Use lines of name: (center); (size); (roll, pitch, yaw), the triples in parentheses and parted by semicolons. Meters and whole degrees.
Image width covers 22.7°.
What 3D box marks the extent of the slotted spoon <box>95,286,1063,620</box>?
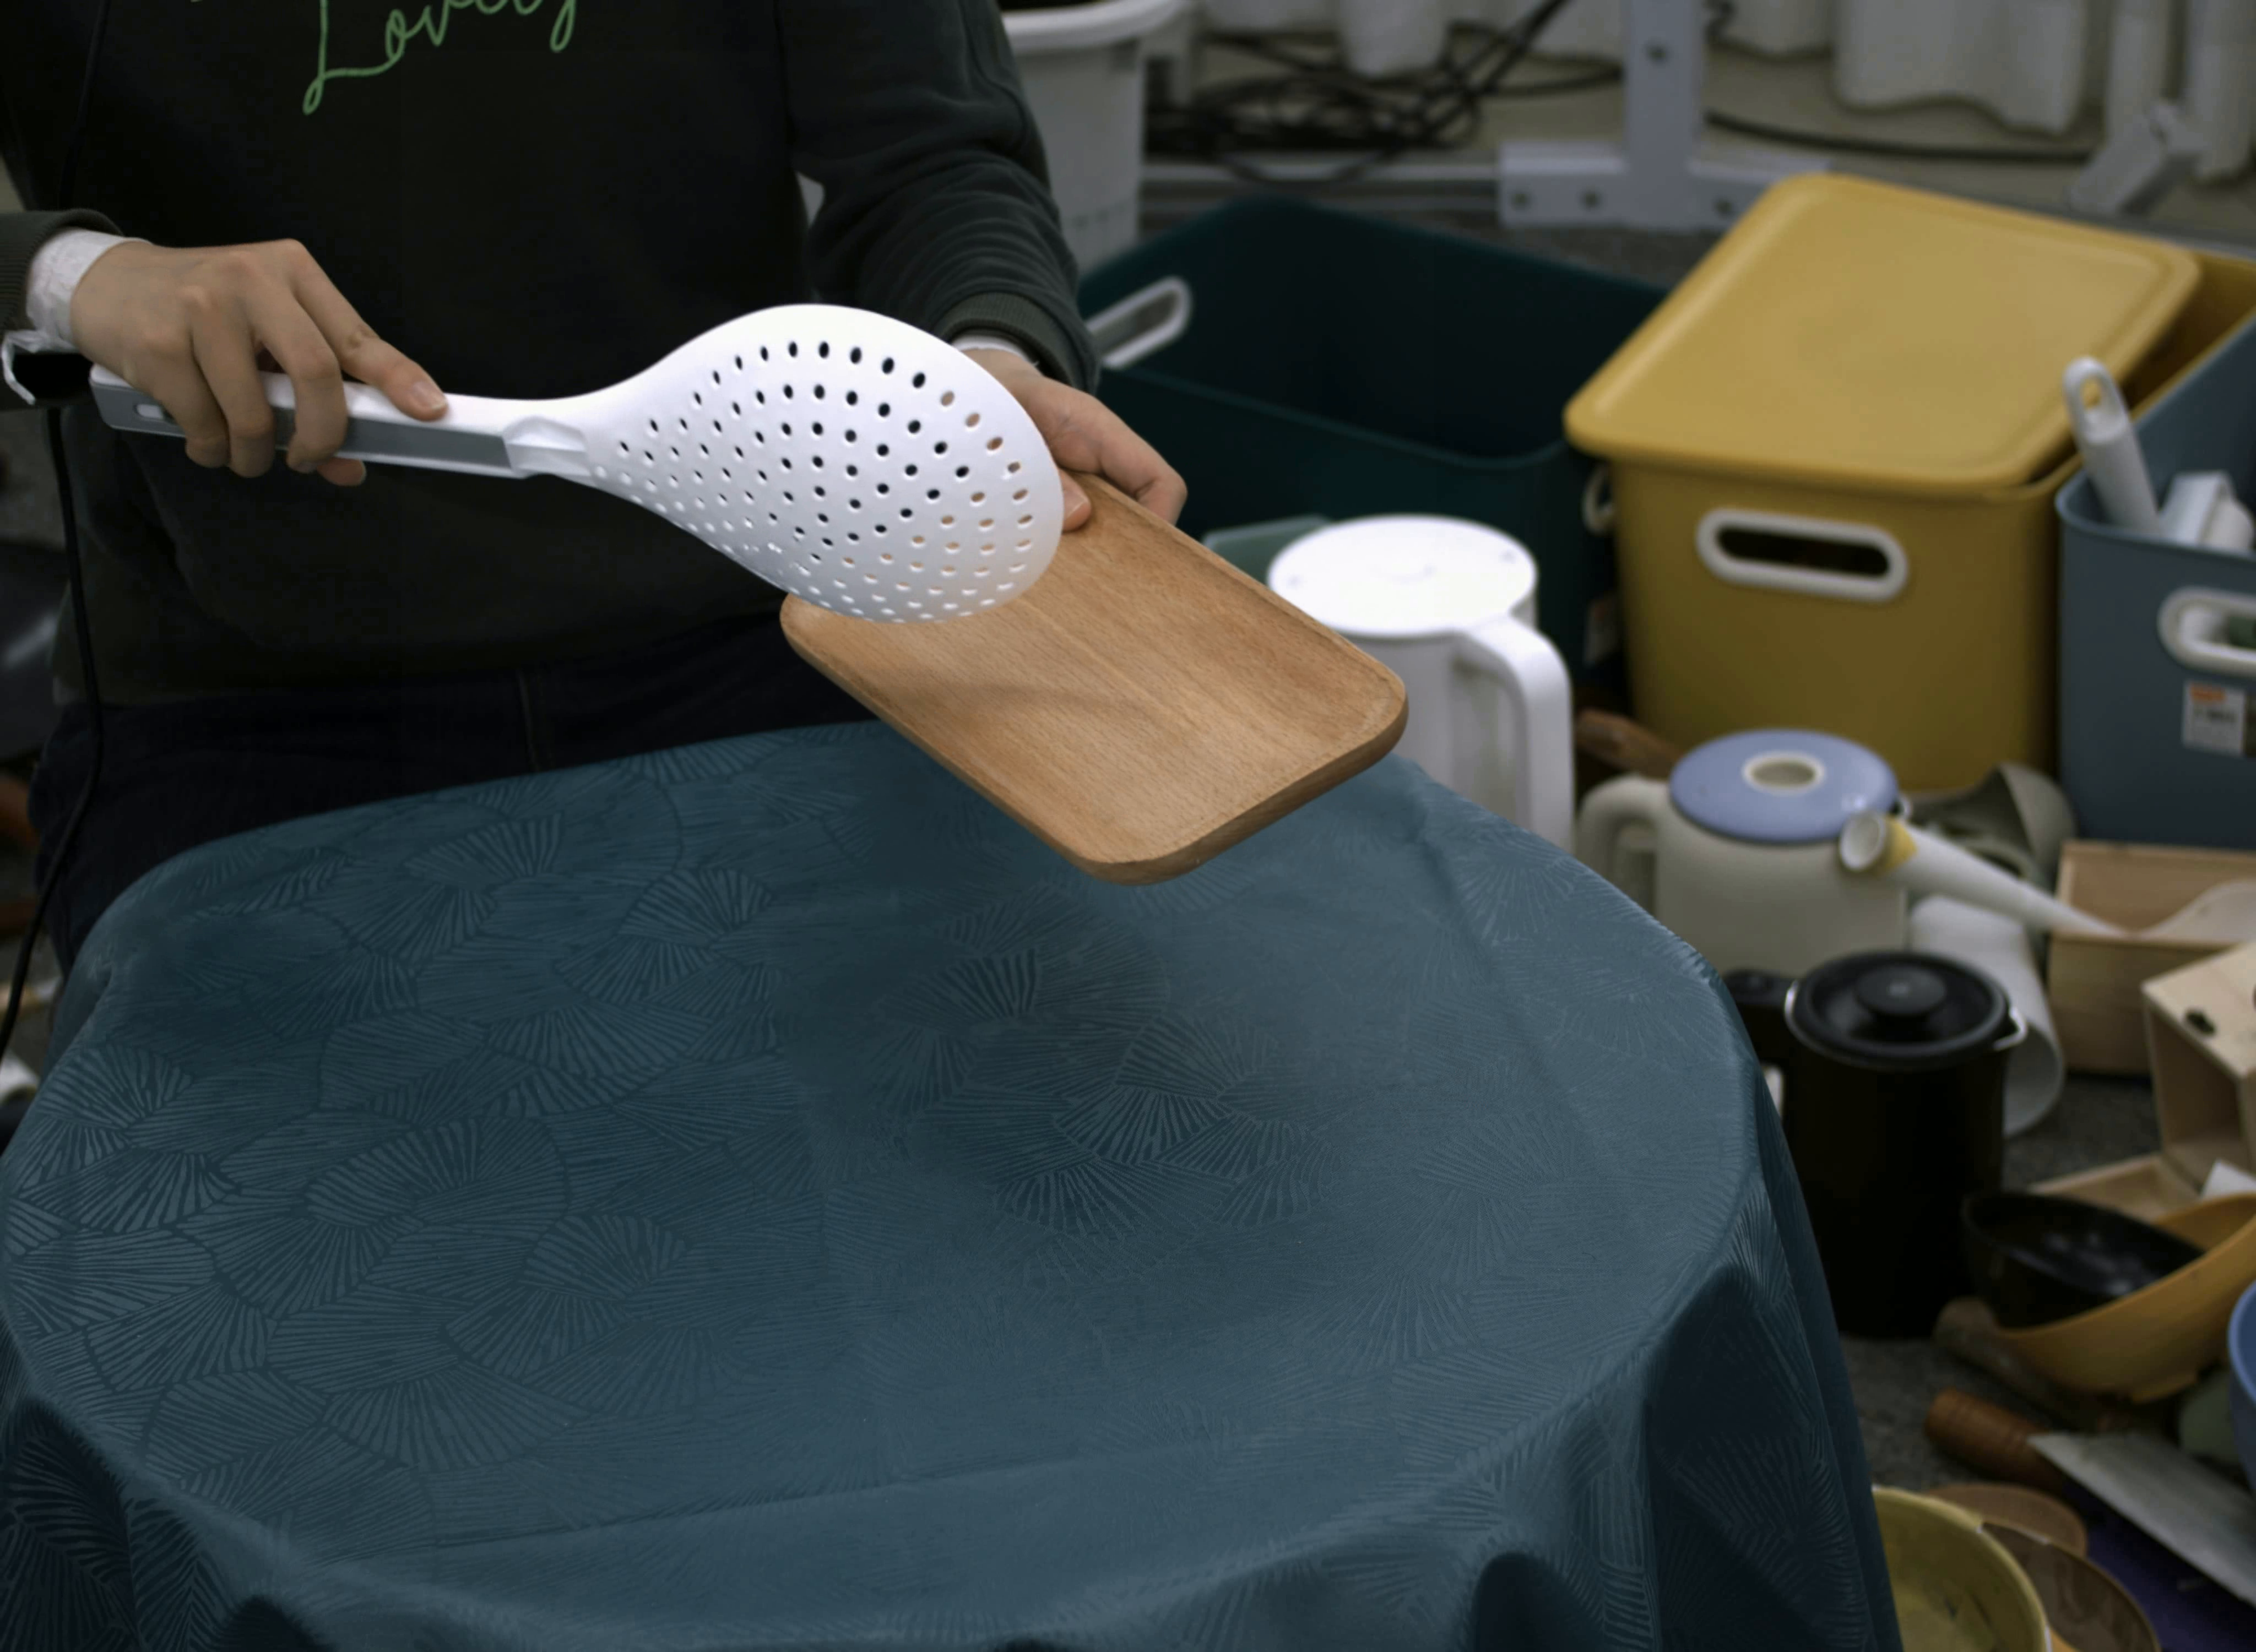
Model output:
slotted spoon: (-0.189, -0.131, 1.885); (0.347, 0.134, 0.046); (11, 44, 21)

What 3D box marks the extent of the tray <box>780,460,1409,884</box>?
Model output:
tray: (-0.014, -0.054, 1.893); (0.131, 0.022, 0.251); (-27, 34, -20)
